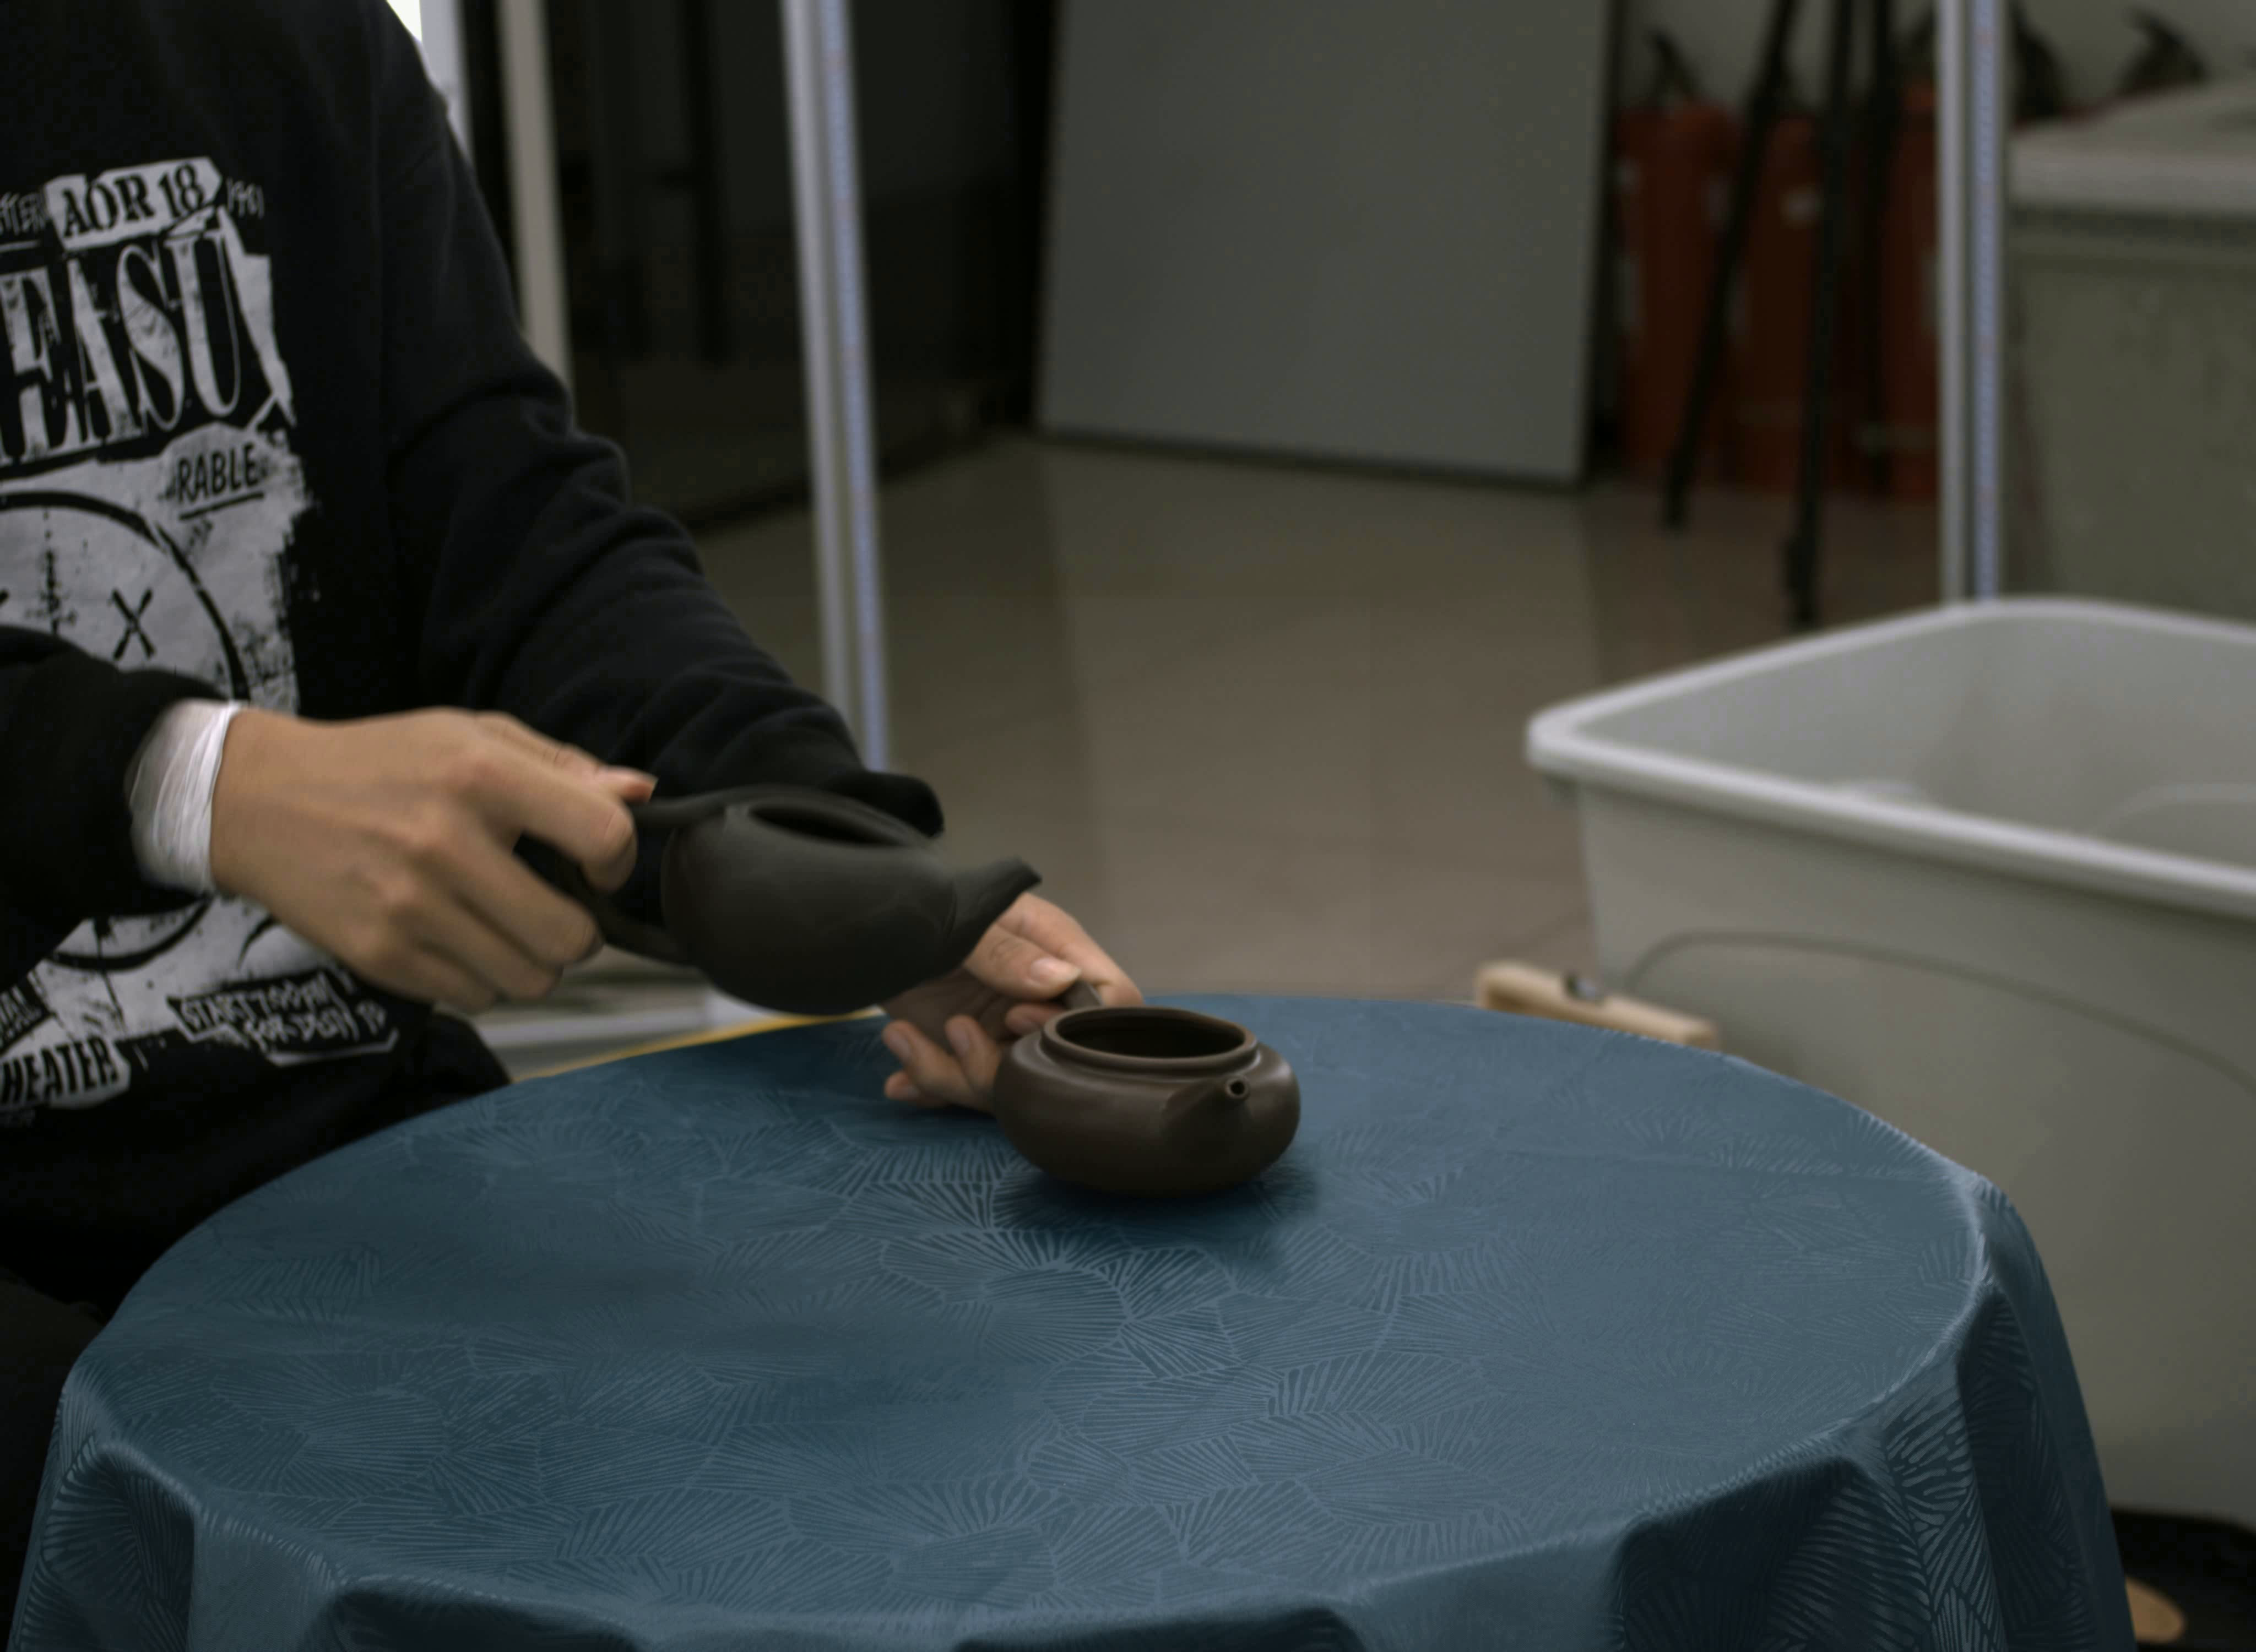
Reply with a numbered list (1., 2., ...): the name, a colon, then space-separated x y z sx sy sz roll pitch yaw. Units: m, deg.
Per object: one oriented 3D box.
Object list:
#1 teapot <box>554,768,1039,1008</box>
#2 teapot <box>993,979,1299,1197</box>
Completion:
1. teapot: -0.103 0.018 1.668 0.151 0.065 0.093 9 12 -16
2. teapot: 0.004 0.087 1.781 0.100 0.054 0.155 -1 14 -27
